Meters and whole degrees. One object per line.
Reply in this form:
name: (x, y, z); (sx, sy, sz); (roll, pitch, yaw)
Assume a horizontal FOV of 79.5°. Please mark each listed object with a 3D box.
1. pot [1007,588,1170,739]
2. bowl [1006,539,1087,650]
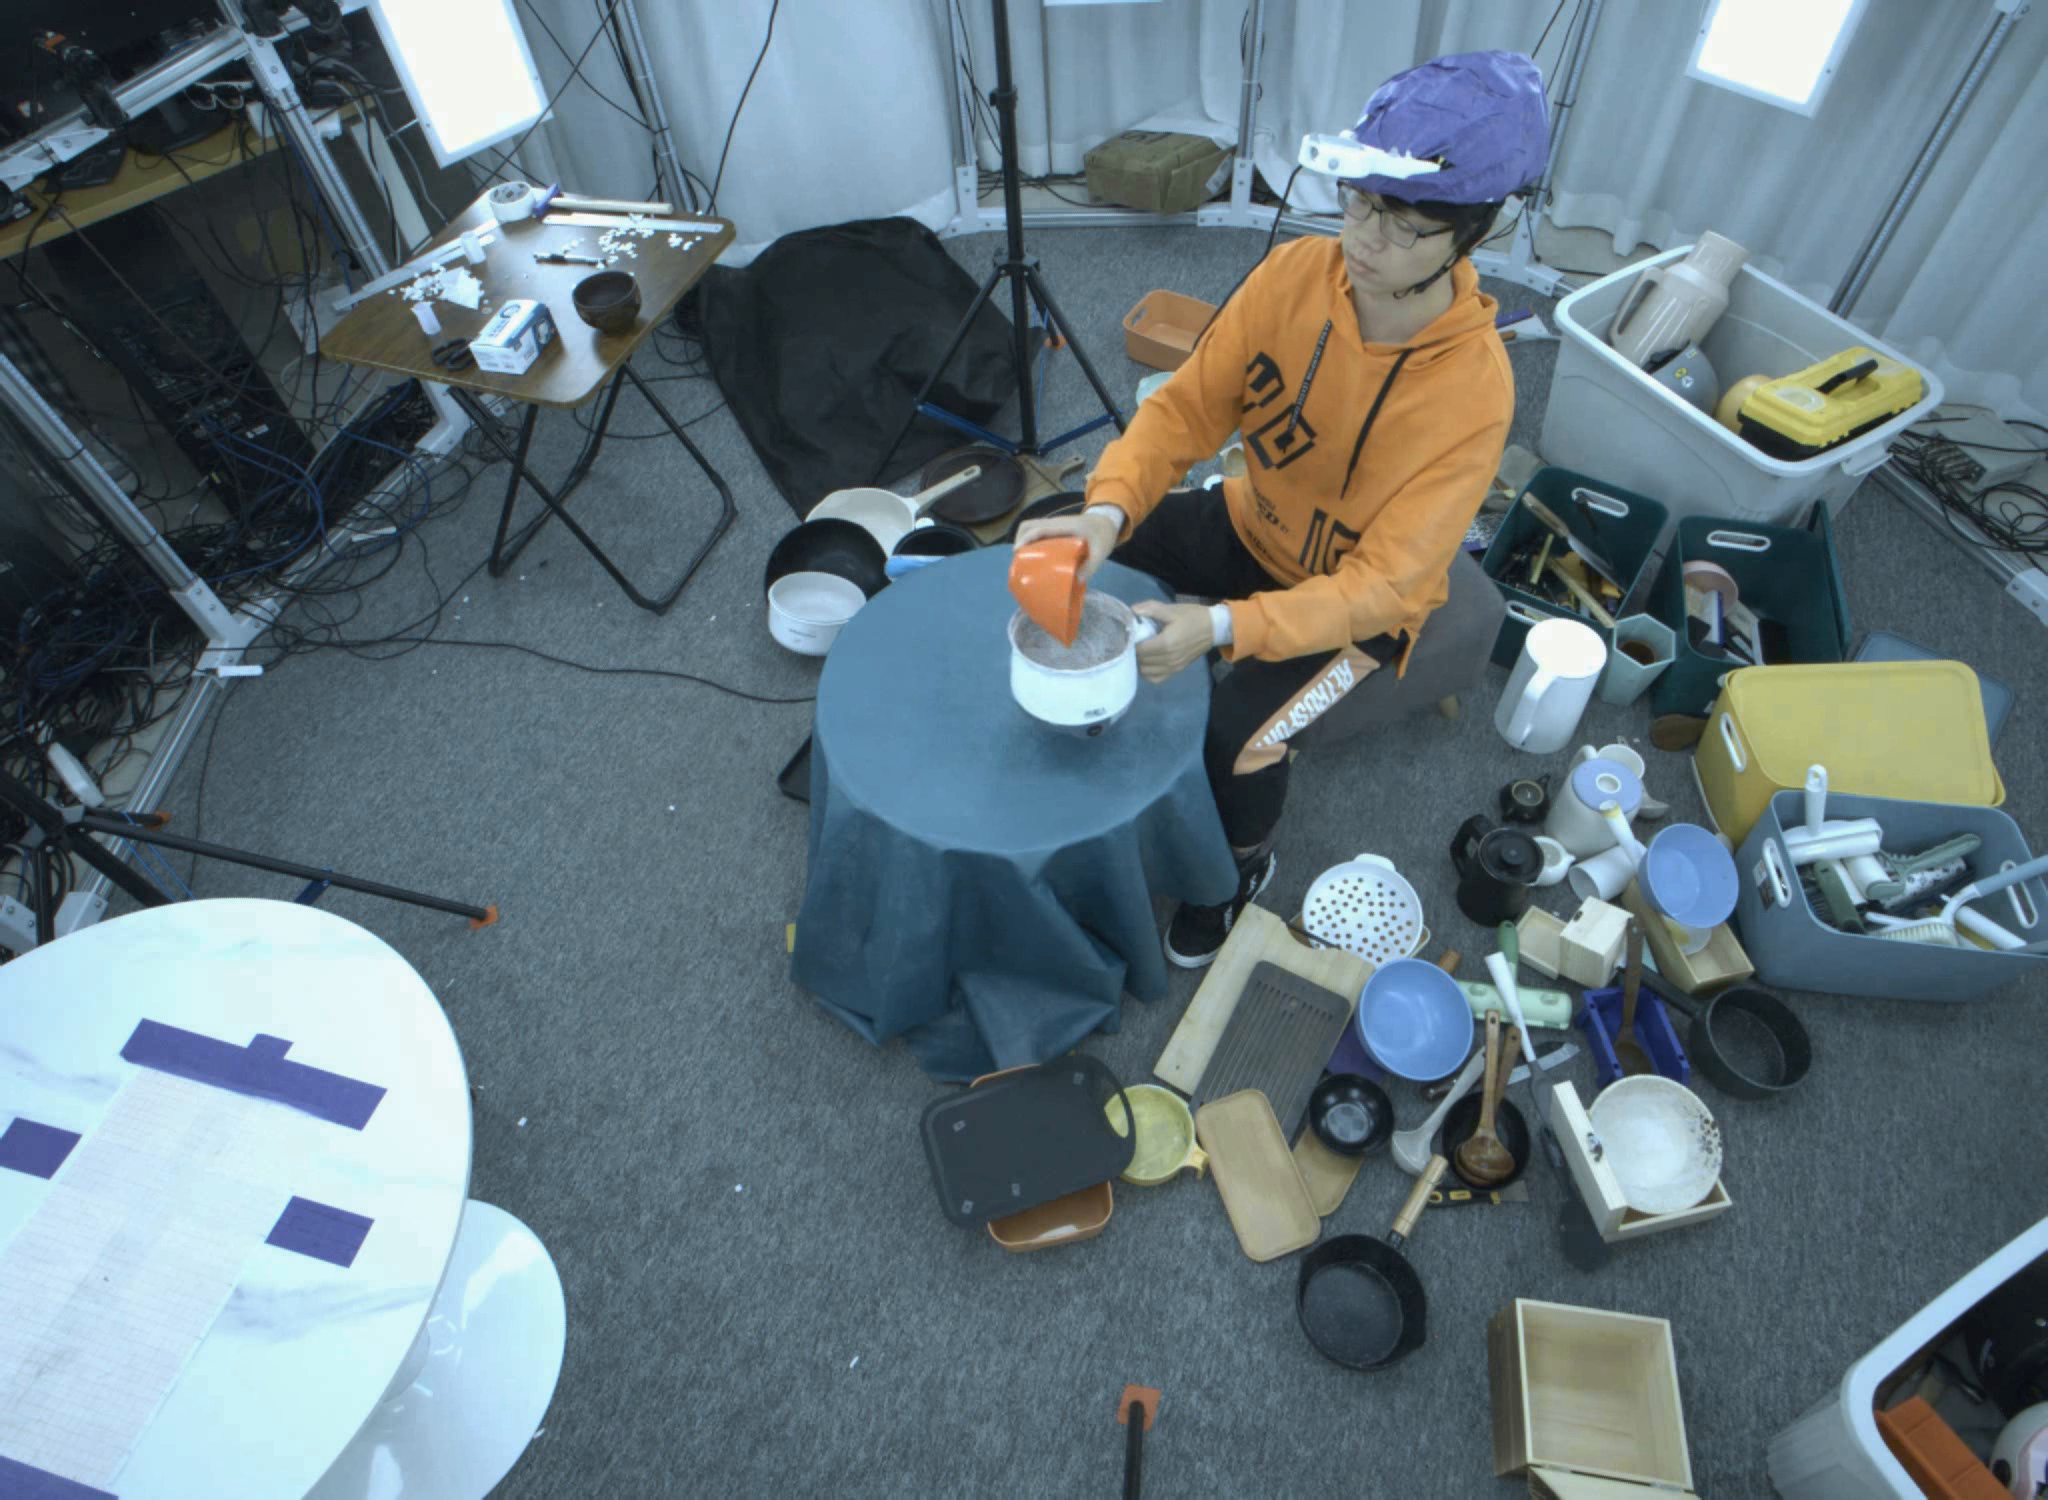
pot: (0.094, -0.128, 1.720); (0.235, 0.138, 0.175); (-16, 49, -13)
bowl: (0.030, -0.219, 1.640); (0.104, 0.149, 0.148); (18, 58, 11)
